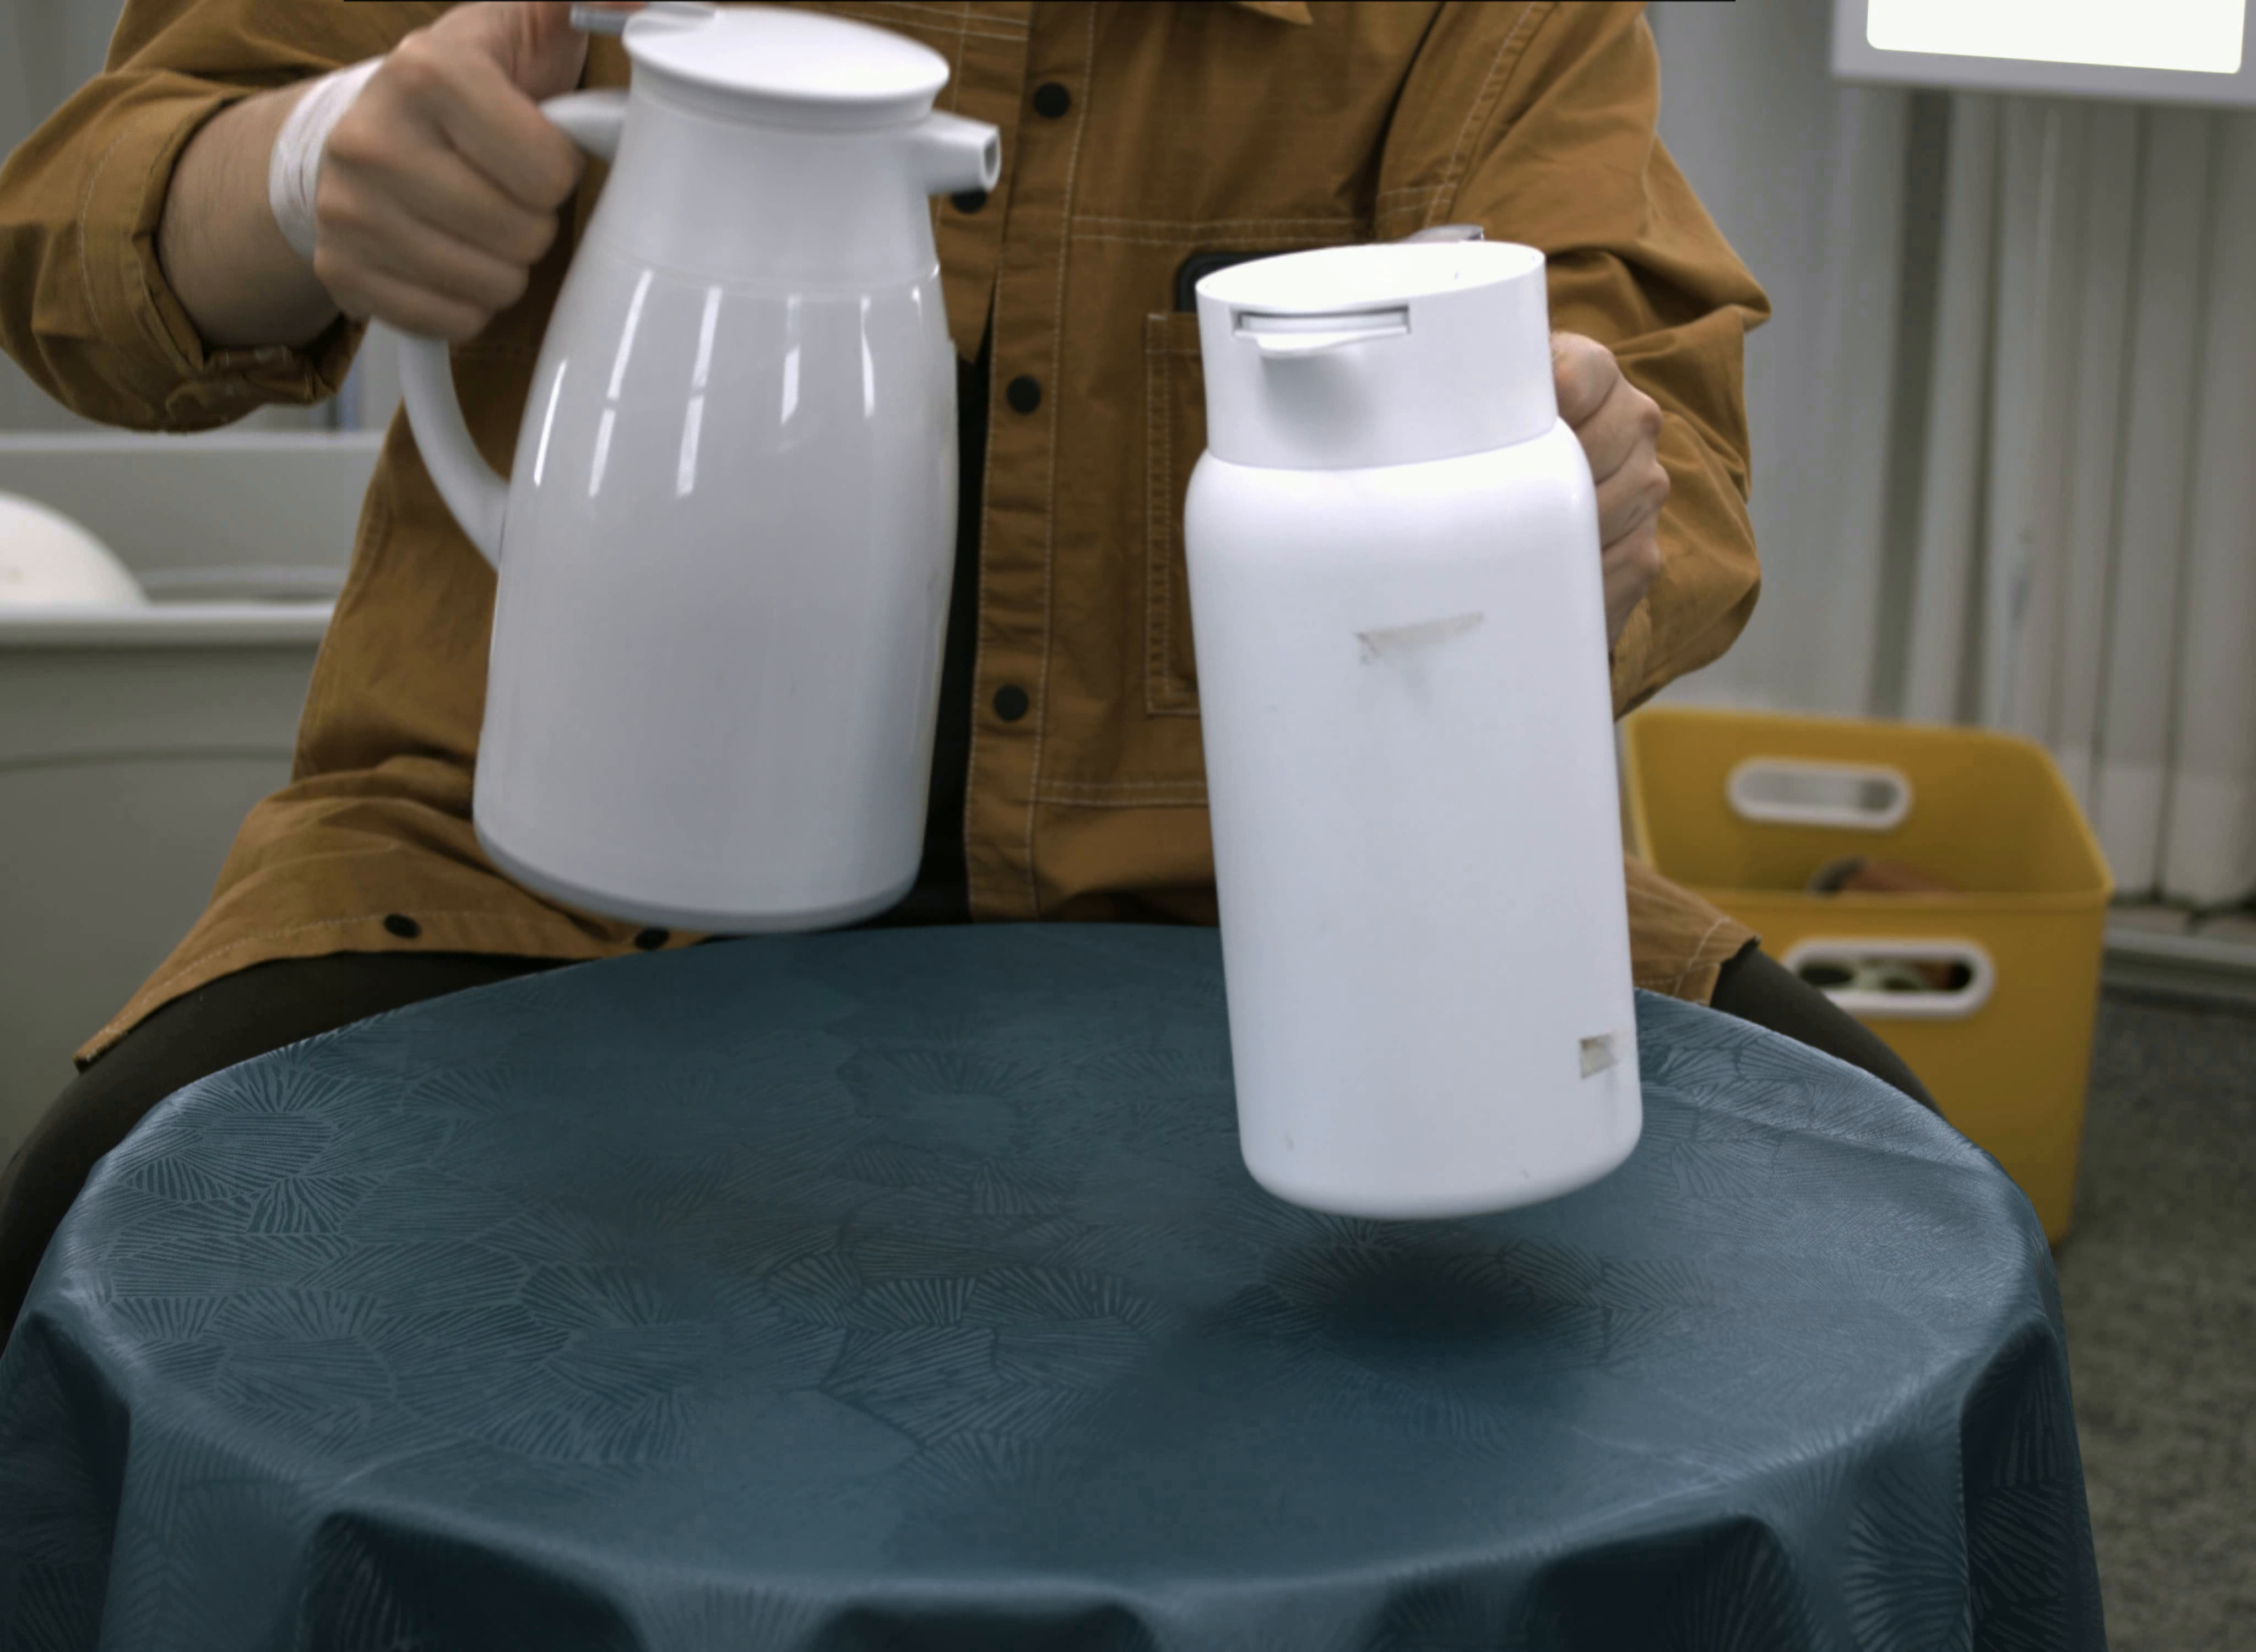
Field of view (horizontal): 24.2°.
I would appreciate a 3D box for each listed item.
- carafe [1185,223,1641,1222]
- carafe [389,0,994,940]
[{"bbox_3d":[0.085,-0.034,1.509,0.122,0.271,0.173,-1,15,23],"label":"carafe"},{"bbox_3d":[-0.130,-0.110,1.492,0.167,0.251,0.132,10,21,8],"label":"carafe"}]
